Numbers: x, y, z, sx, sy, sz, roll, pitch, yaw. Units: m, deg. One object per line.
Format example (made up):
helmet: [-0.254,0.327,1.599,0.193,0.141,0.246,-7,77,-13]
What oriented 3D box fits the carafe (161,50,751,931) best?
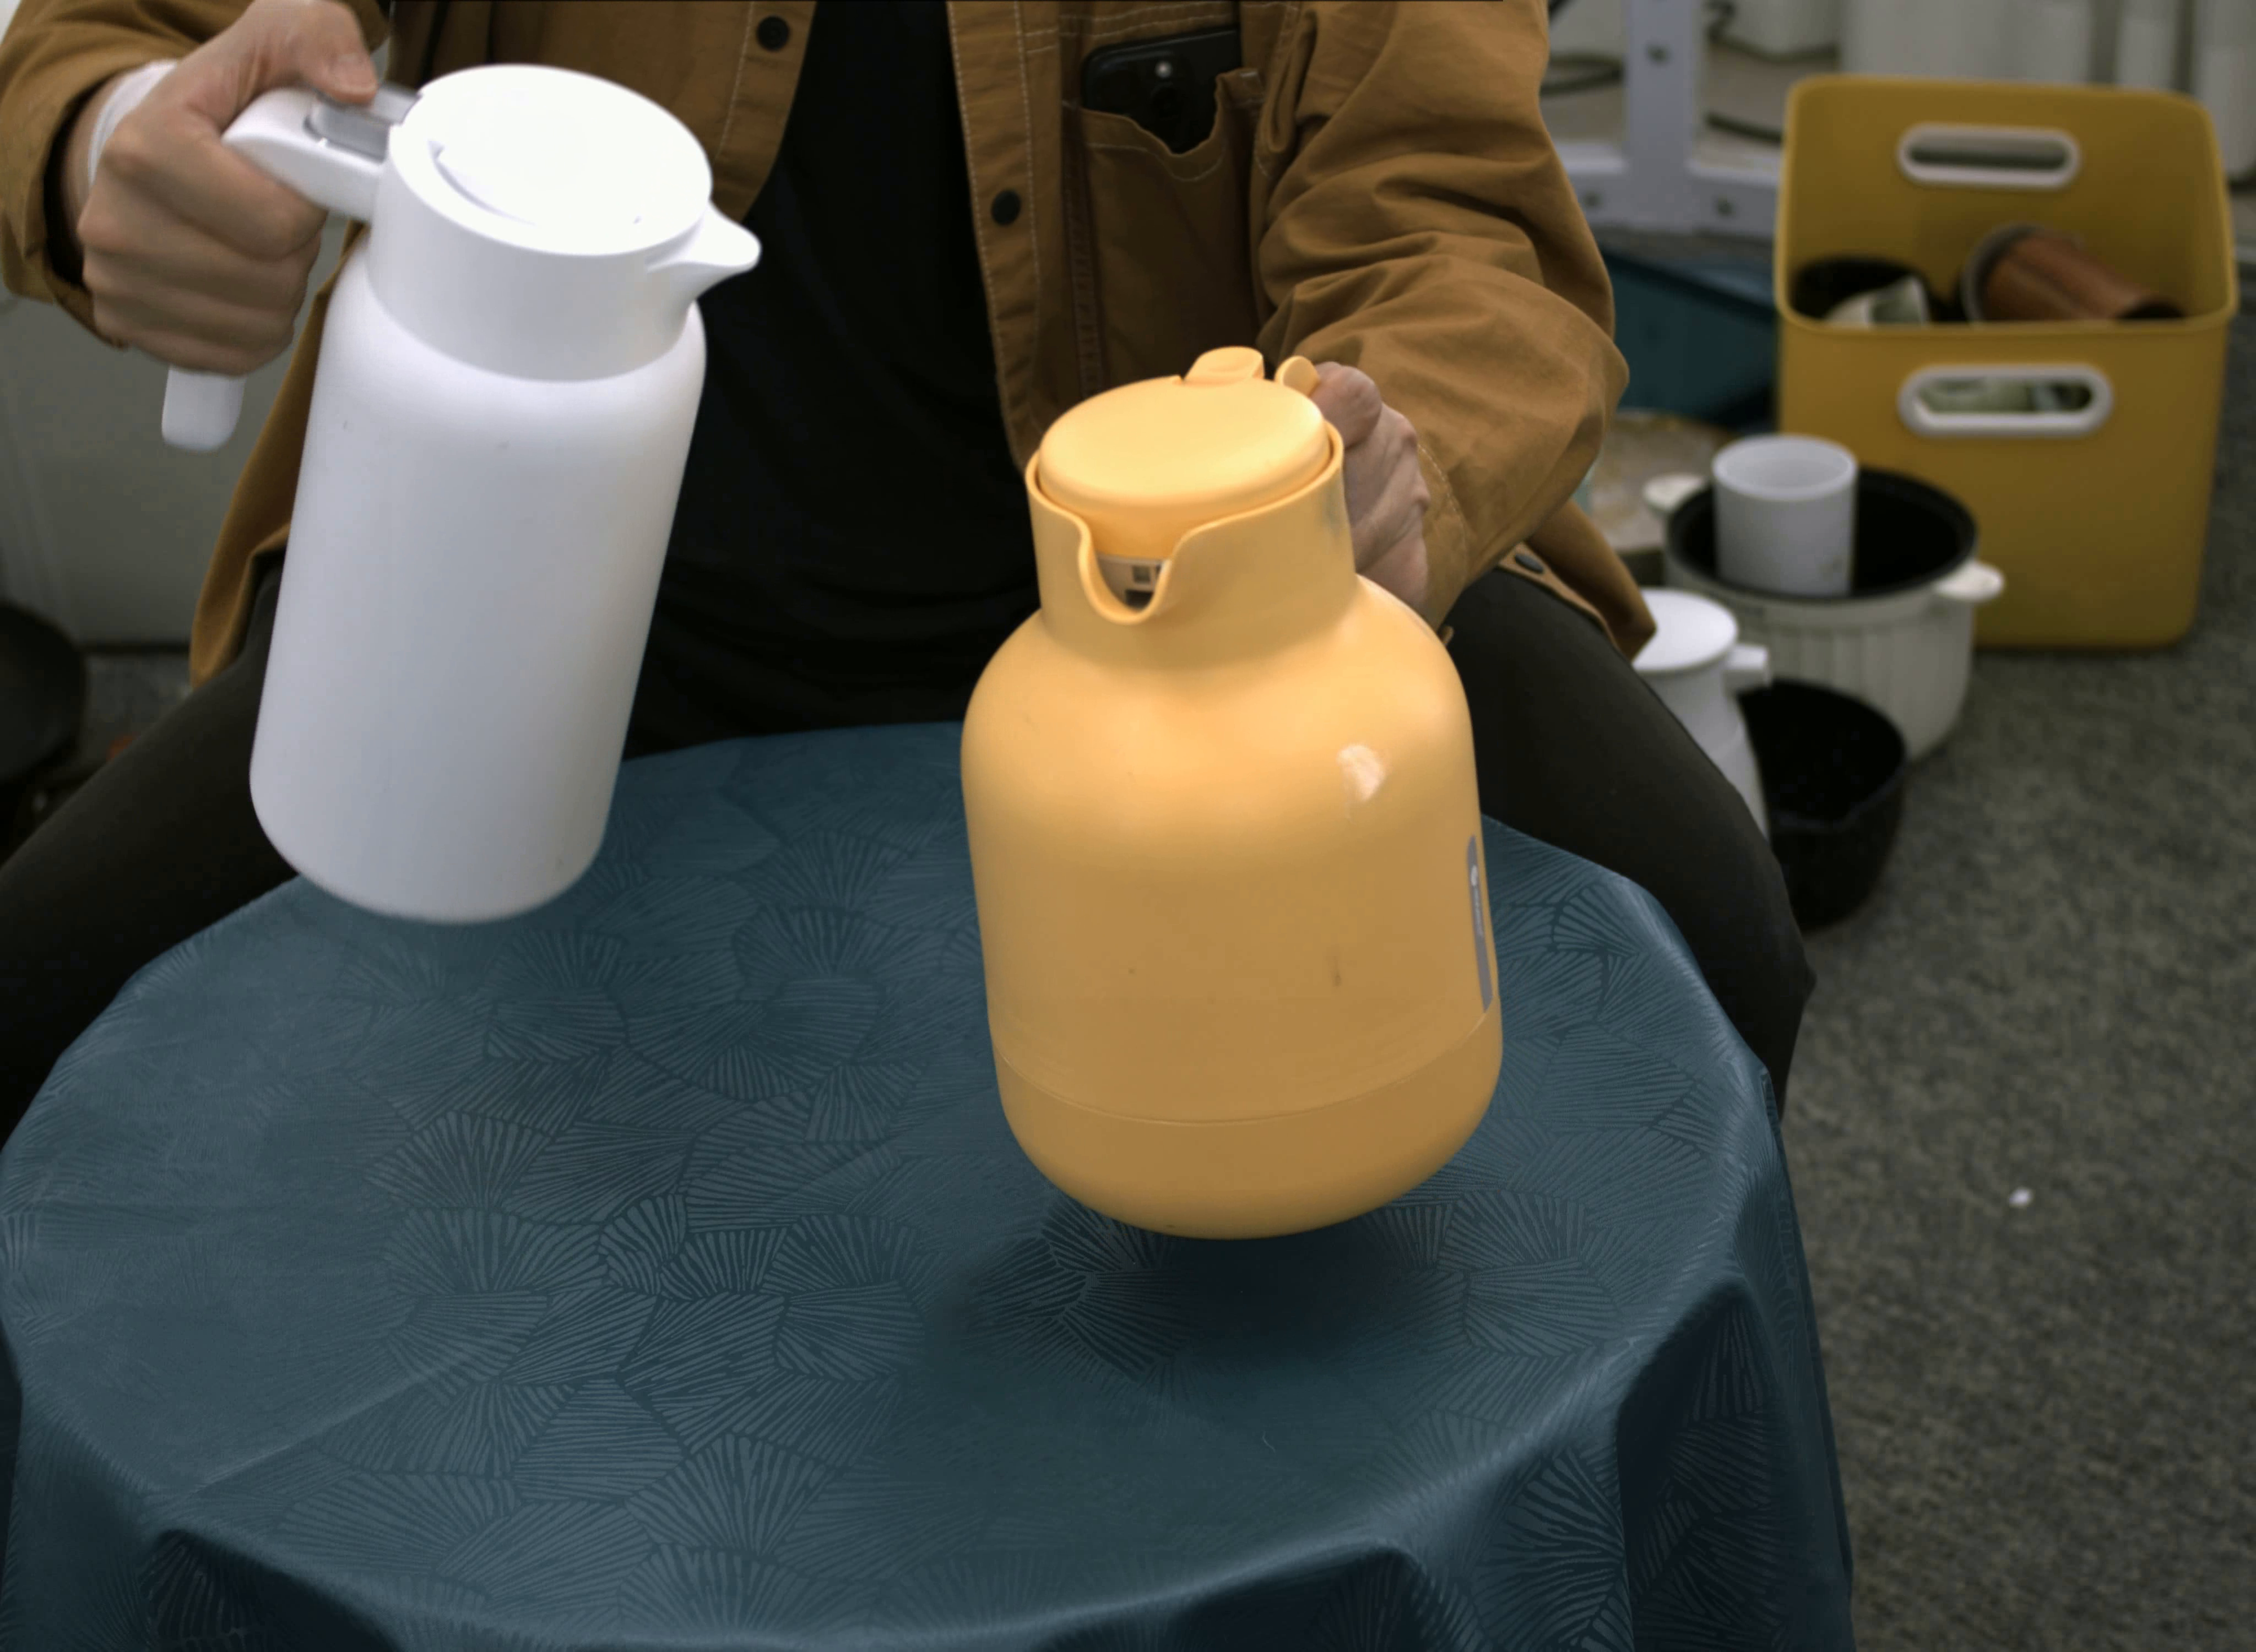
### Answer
carafe: [-0.219,-0.105,1.765,0.172,0.264,0.126,18,39,4]

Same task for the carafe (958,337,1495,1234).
carafe: [0.035,-0.022,1.770,0.162,0.257,0.206,5,30,17]
